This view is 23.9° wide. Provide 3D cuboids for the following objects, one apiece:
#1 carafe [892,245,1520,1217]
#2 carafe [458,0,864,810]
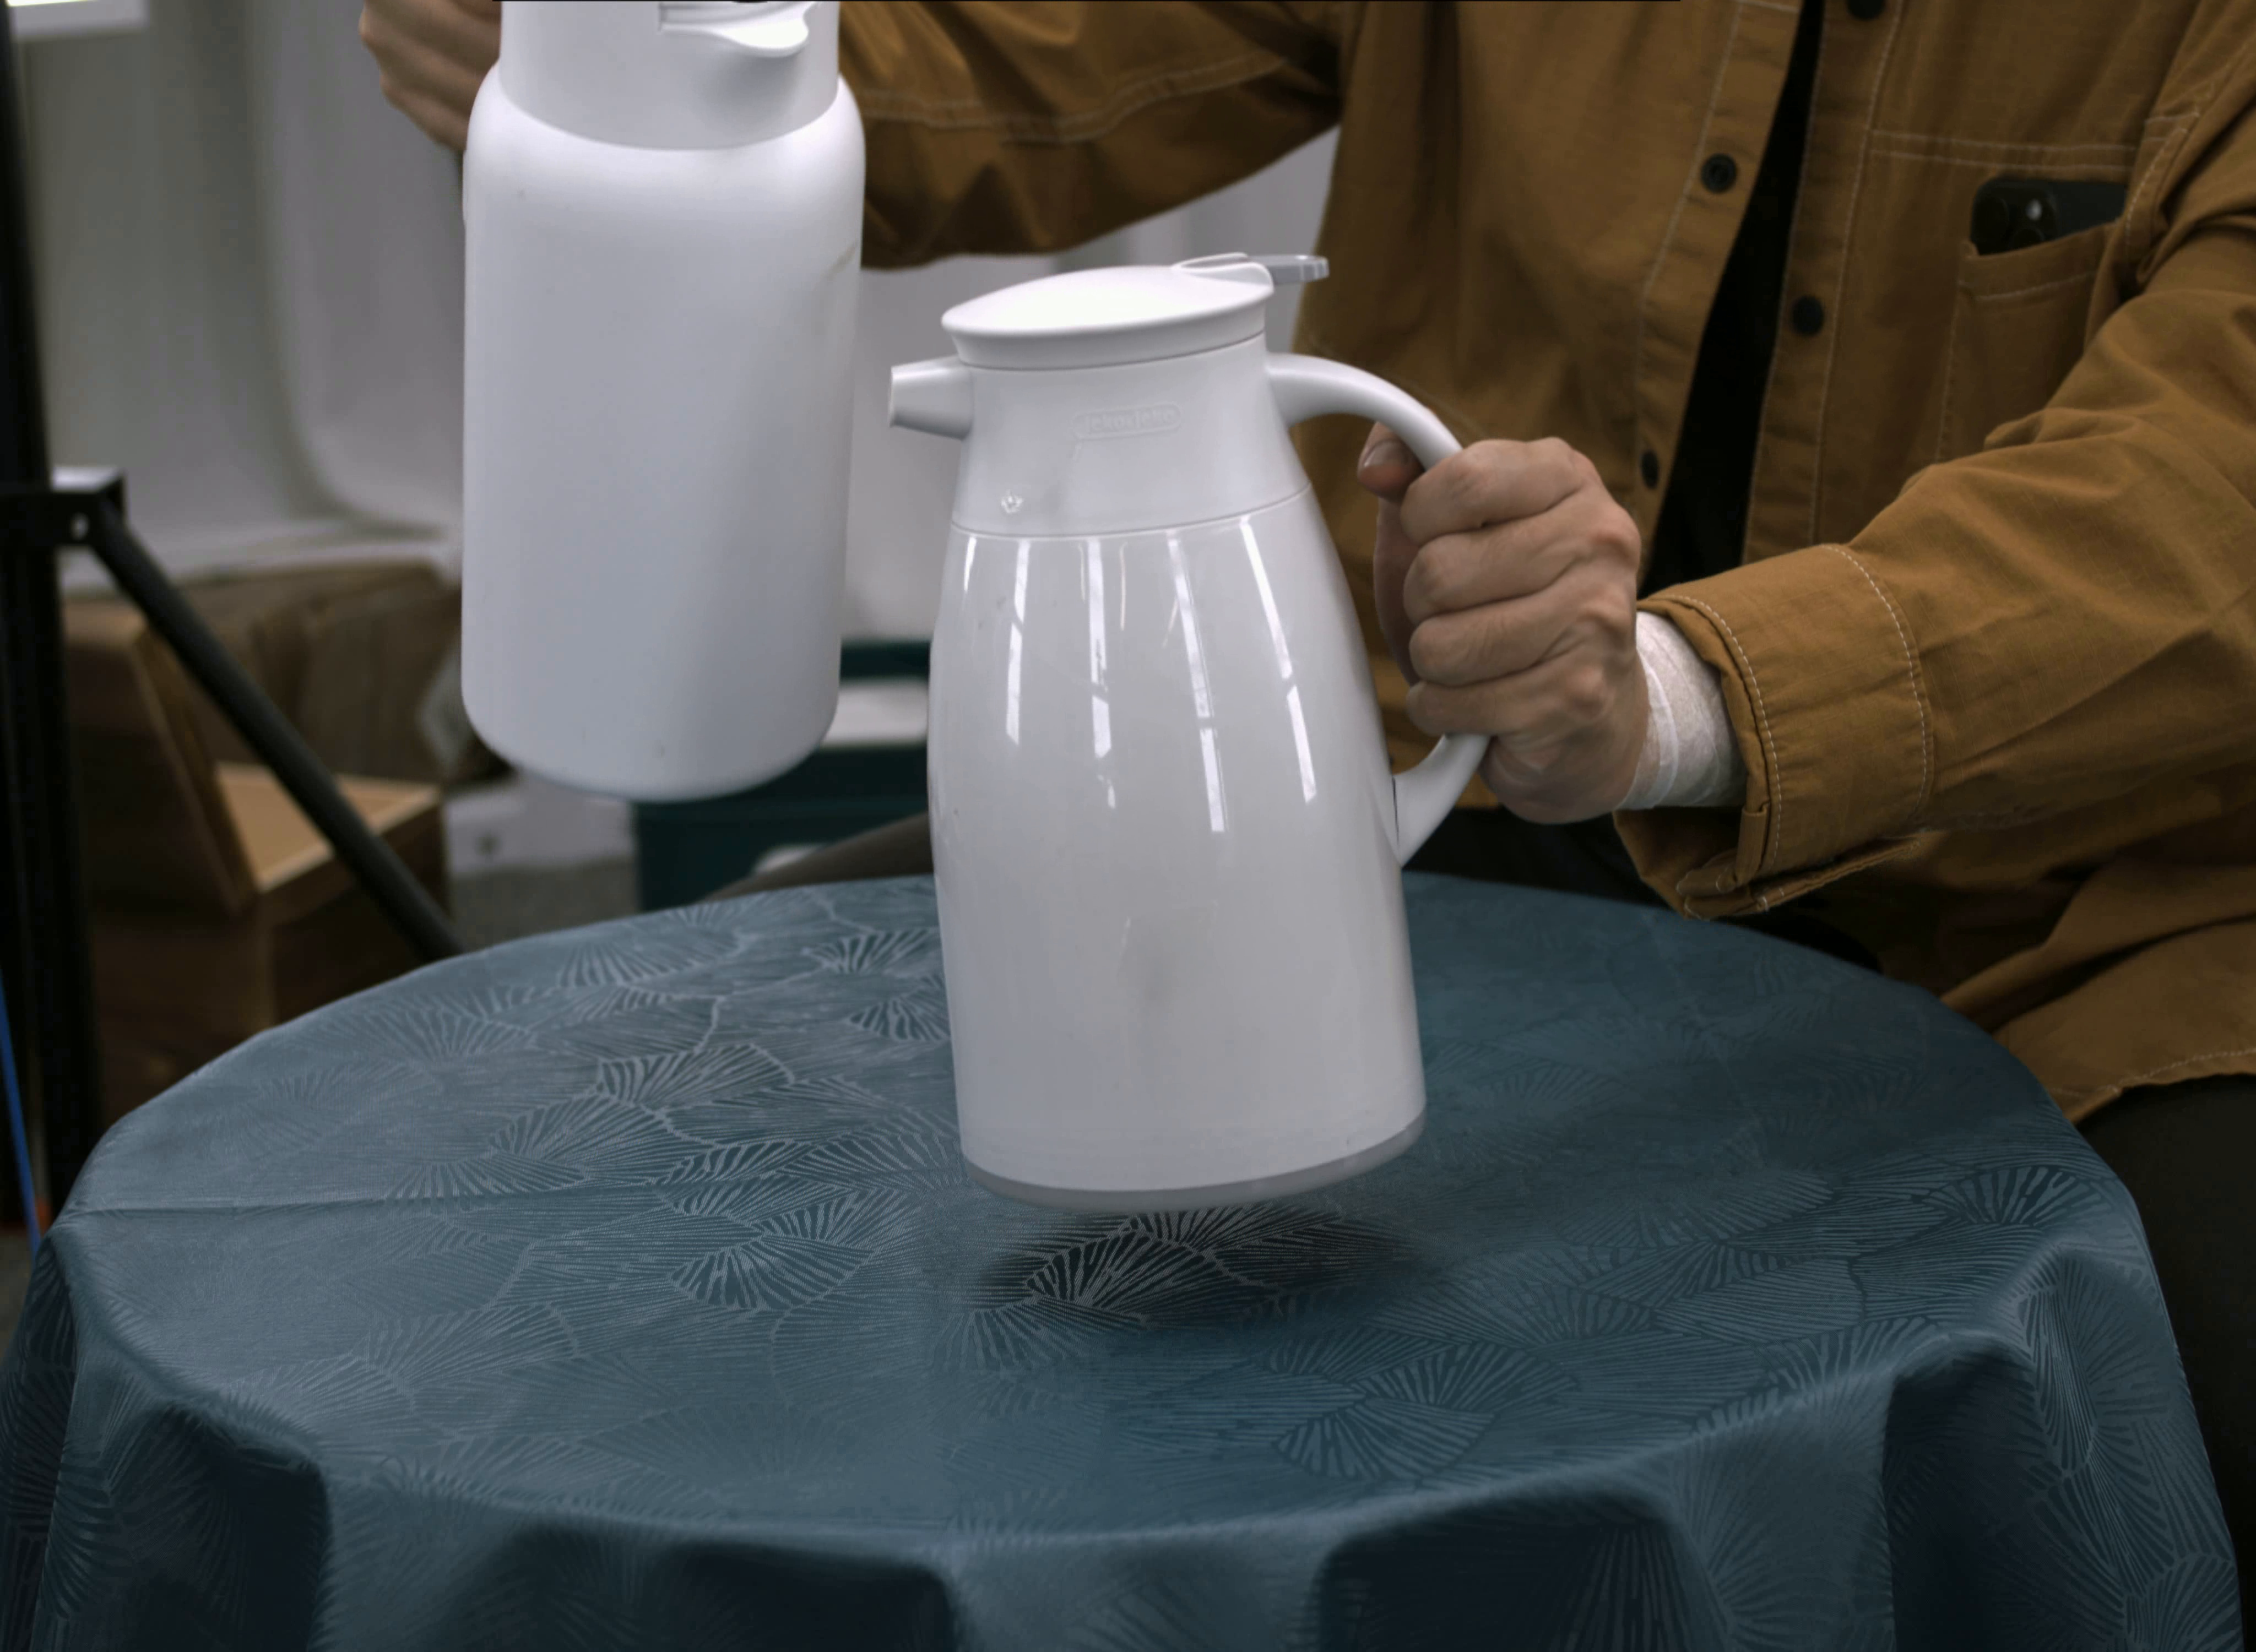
[{"bbox_3d":[0.026,-0.033,1.464,0.166,0.249,0.133,-6,12,-2],"label":"carafe"},{"bbox_3d":[-0.151,-0.153,1.611,0.121,0.268,0.177,-16,36,-28],"label":"carafe"}]
